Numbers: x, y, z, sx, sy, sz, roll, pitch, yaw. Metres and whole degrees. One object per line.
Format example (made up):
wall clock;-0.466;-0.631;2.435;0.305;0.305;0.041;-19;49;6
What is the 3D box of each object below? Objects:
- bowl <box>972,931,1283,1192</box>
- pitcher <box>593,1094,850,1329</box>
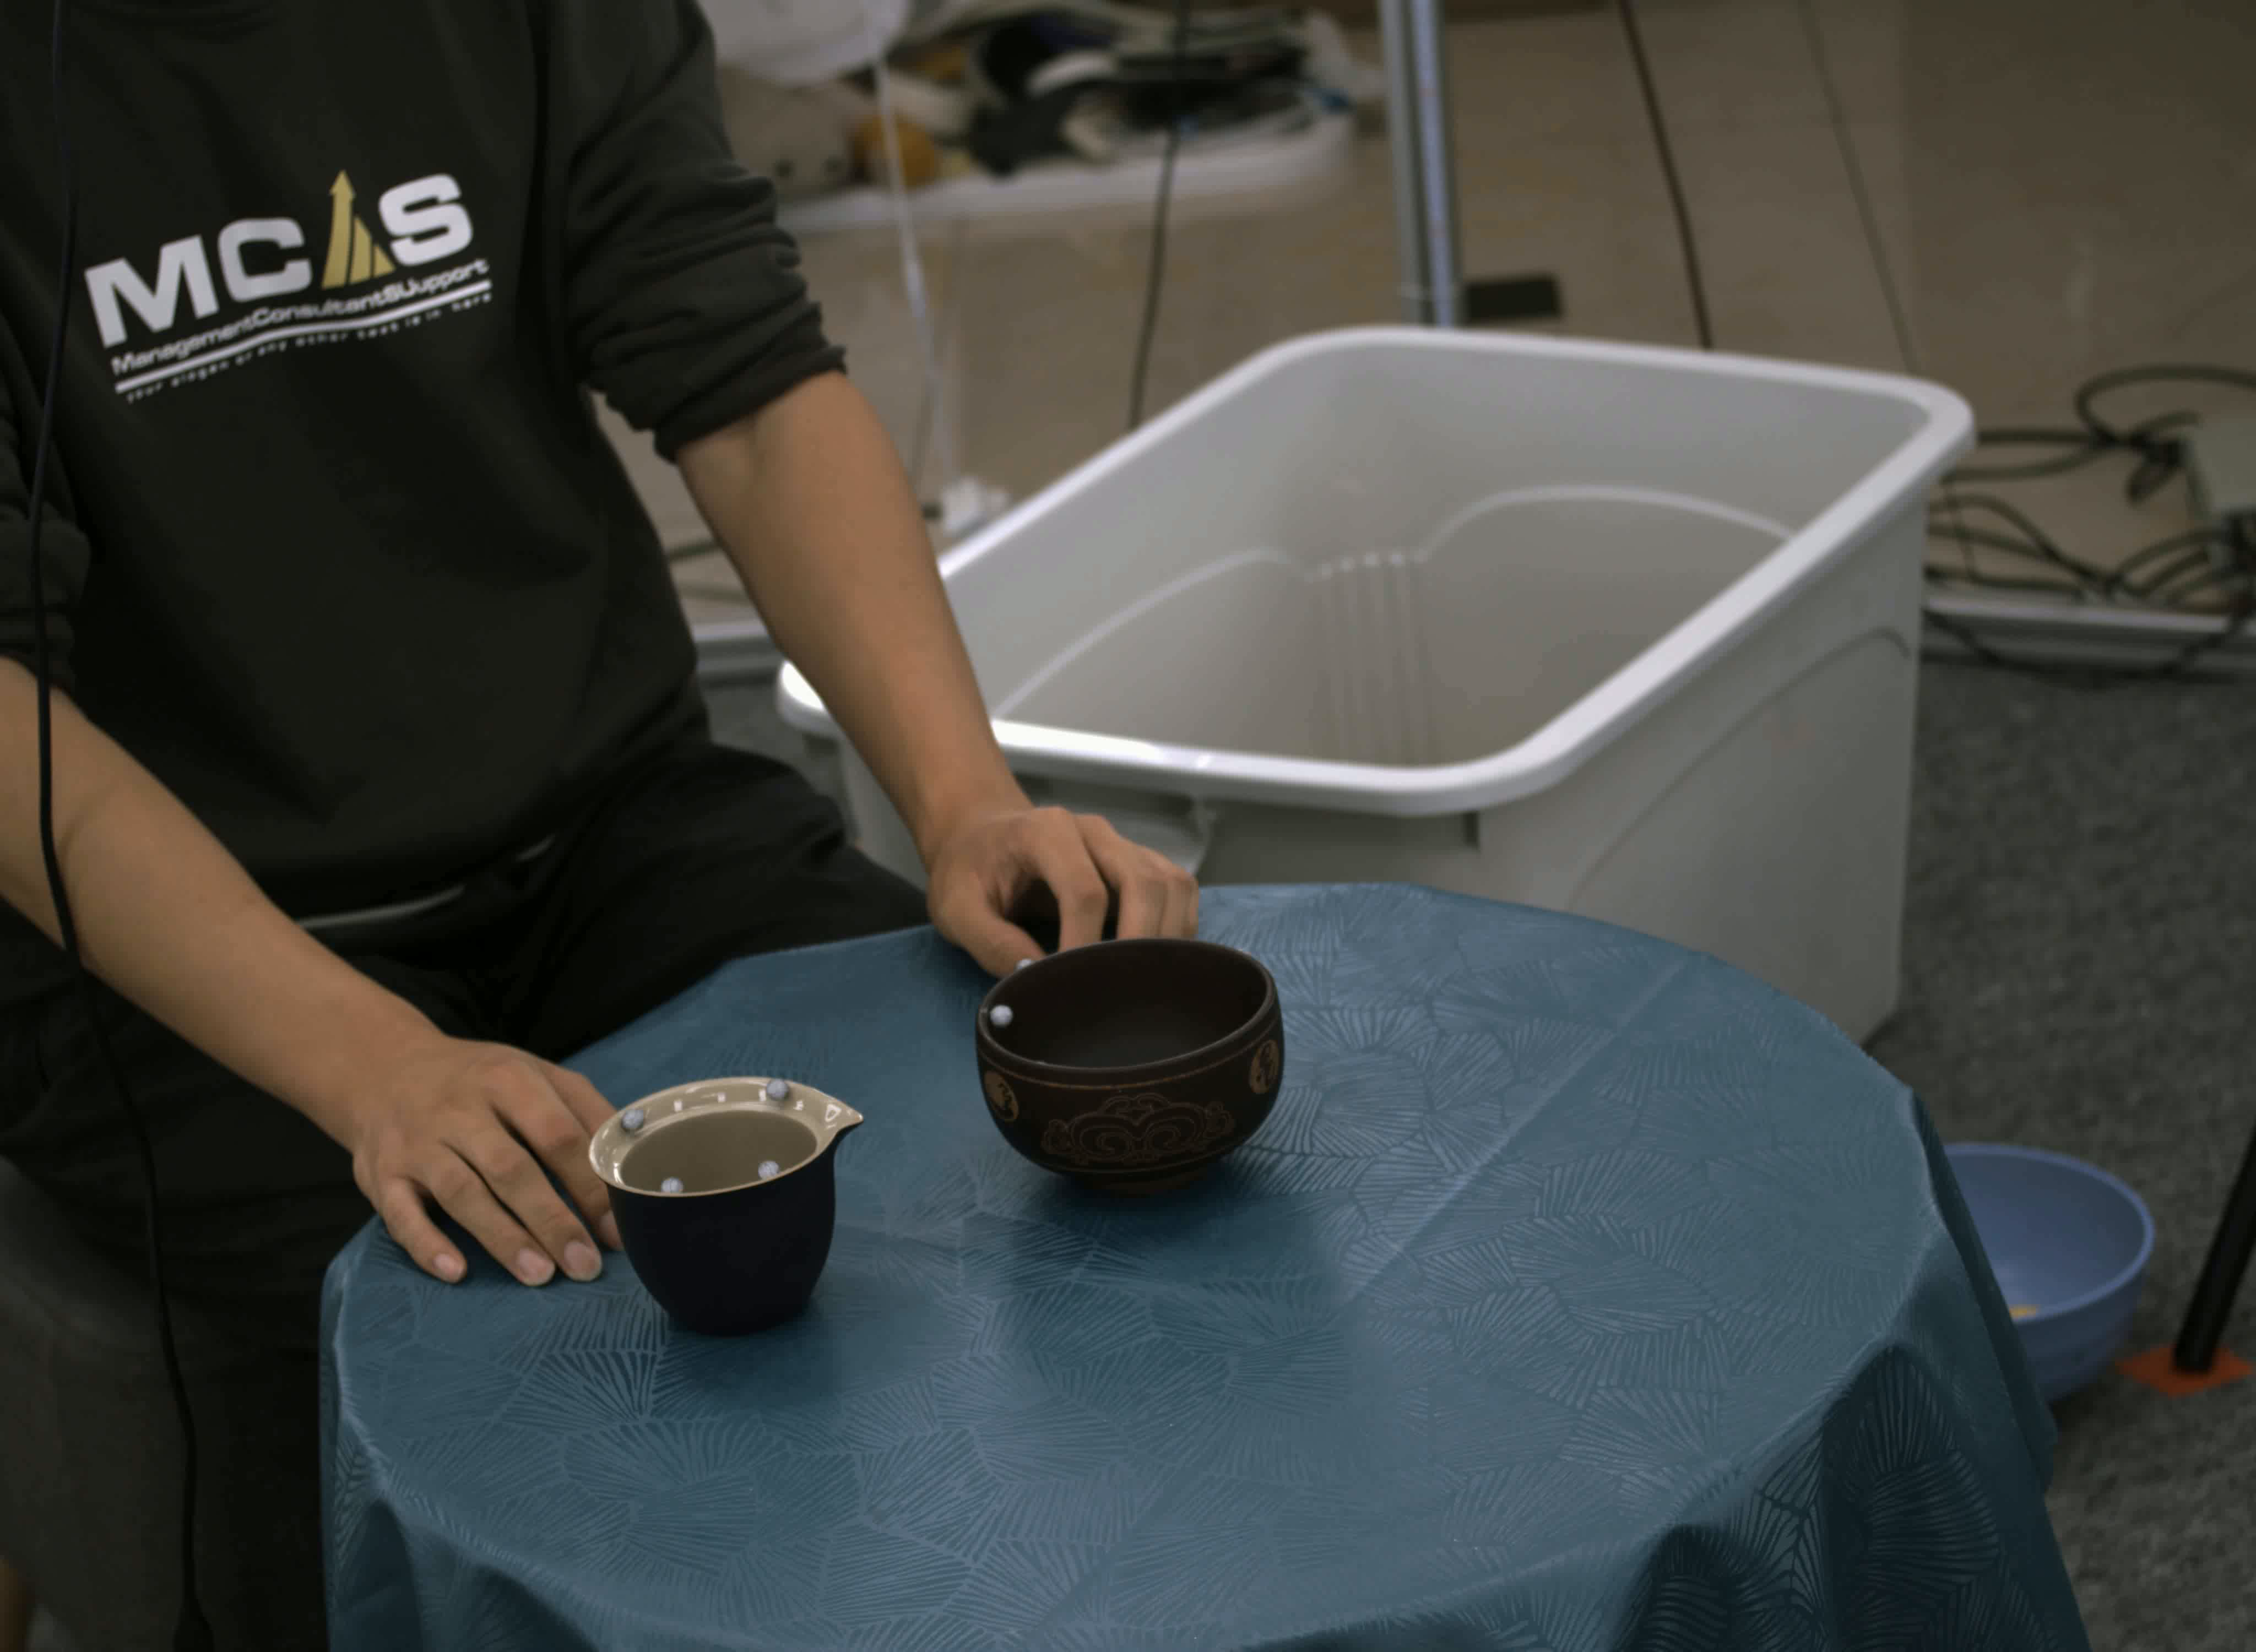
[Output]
bowl;0.001;0.096;2.154;0.118;0.071;0.116;-5;27;2
pitcher;-0.145;0.141;2.086;0.096;0.072;0.082;-8;23;-1
